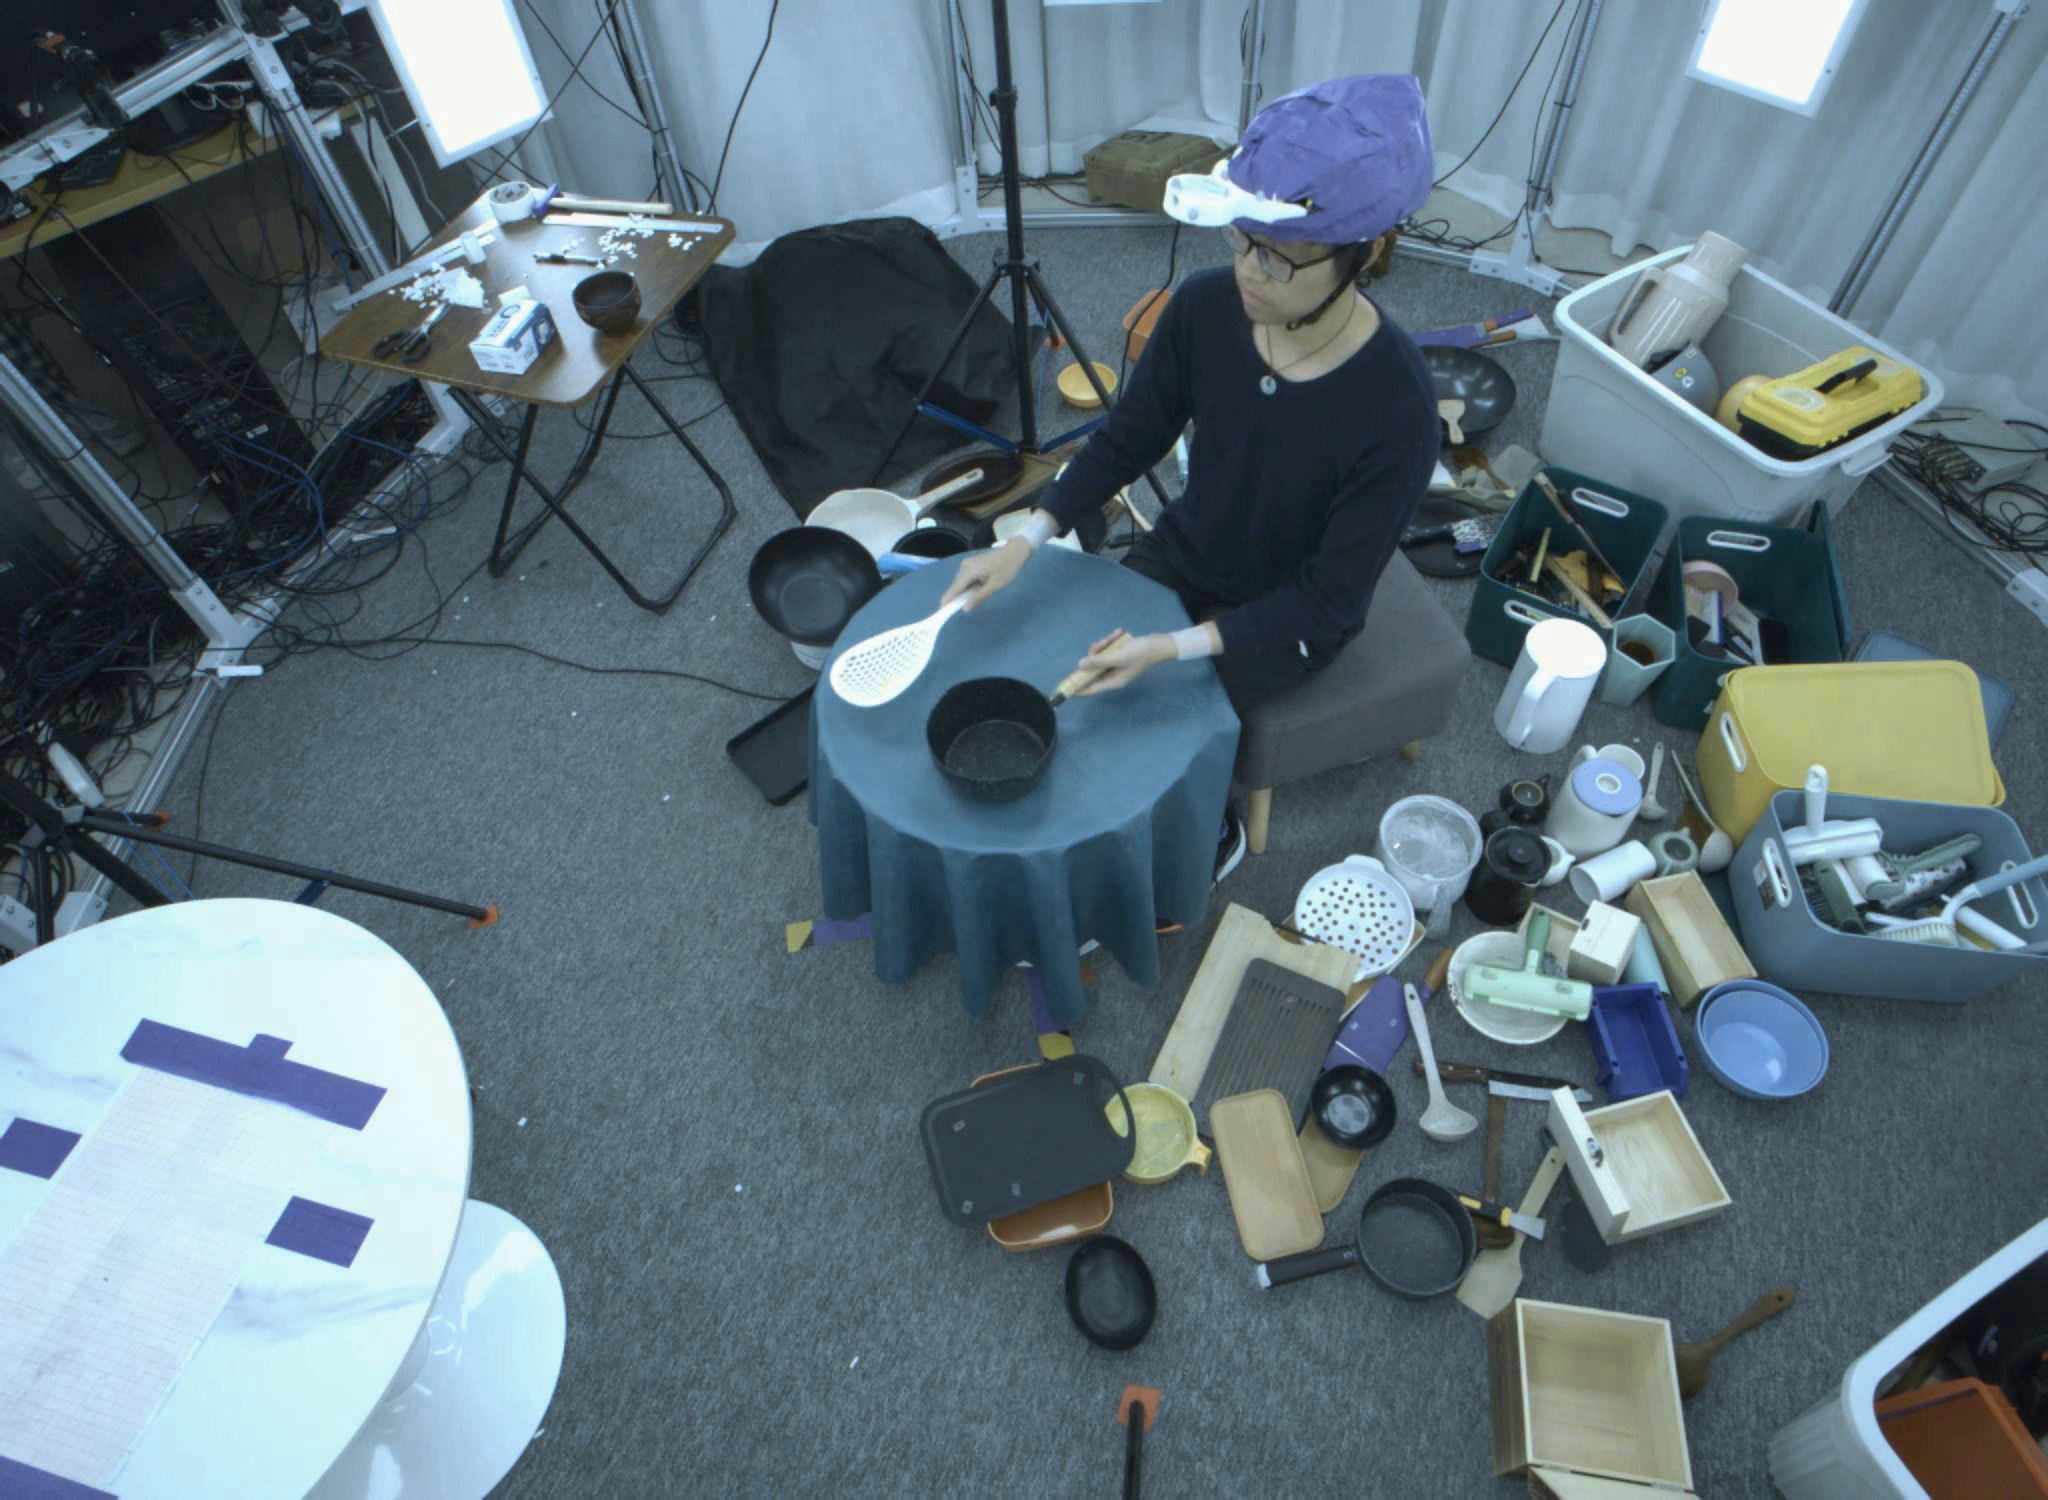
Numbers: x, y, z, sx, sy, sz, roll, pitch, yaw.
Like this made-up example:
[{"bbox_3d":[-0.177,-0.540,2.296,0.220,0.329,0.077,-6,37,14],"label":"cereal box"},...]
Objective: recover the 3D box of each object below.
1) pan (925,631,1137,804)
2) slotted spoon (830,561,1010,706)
[{"bbox_3d":[0.020,-0.055,1.759,0.345,0.109,0.203,-32,58,-17],"label":"pan"},{"bbox_3d":[-0.141,-0.183,1.834,0.134,0.051,0.349,31,68,33],"label":"slotted spoon"}]
